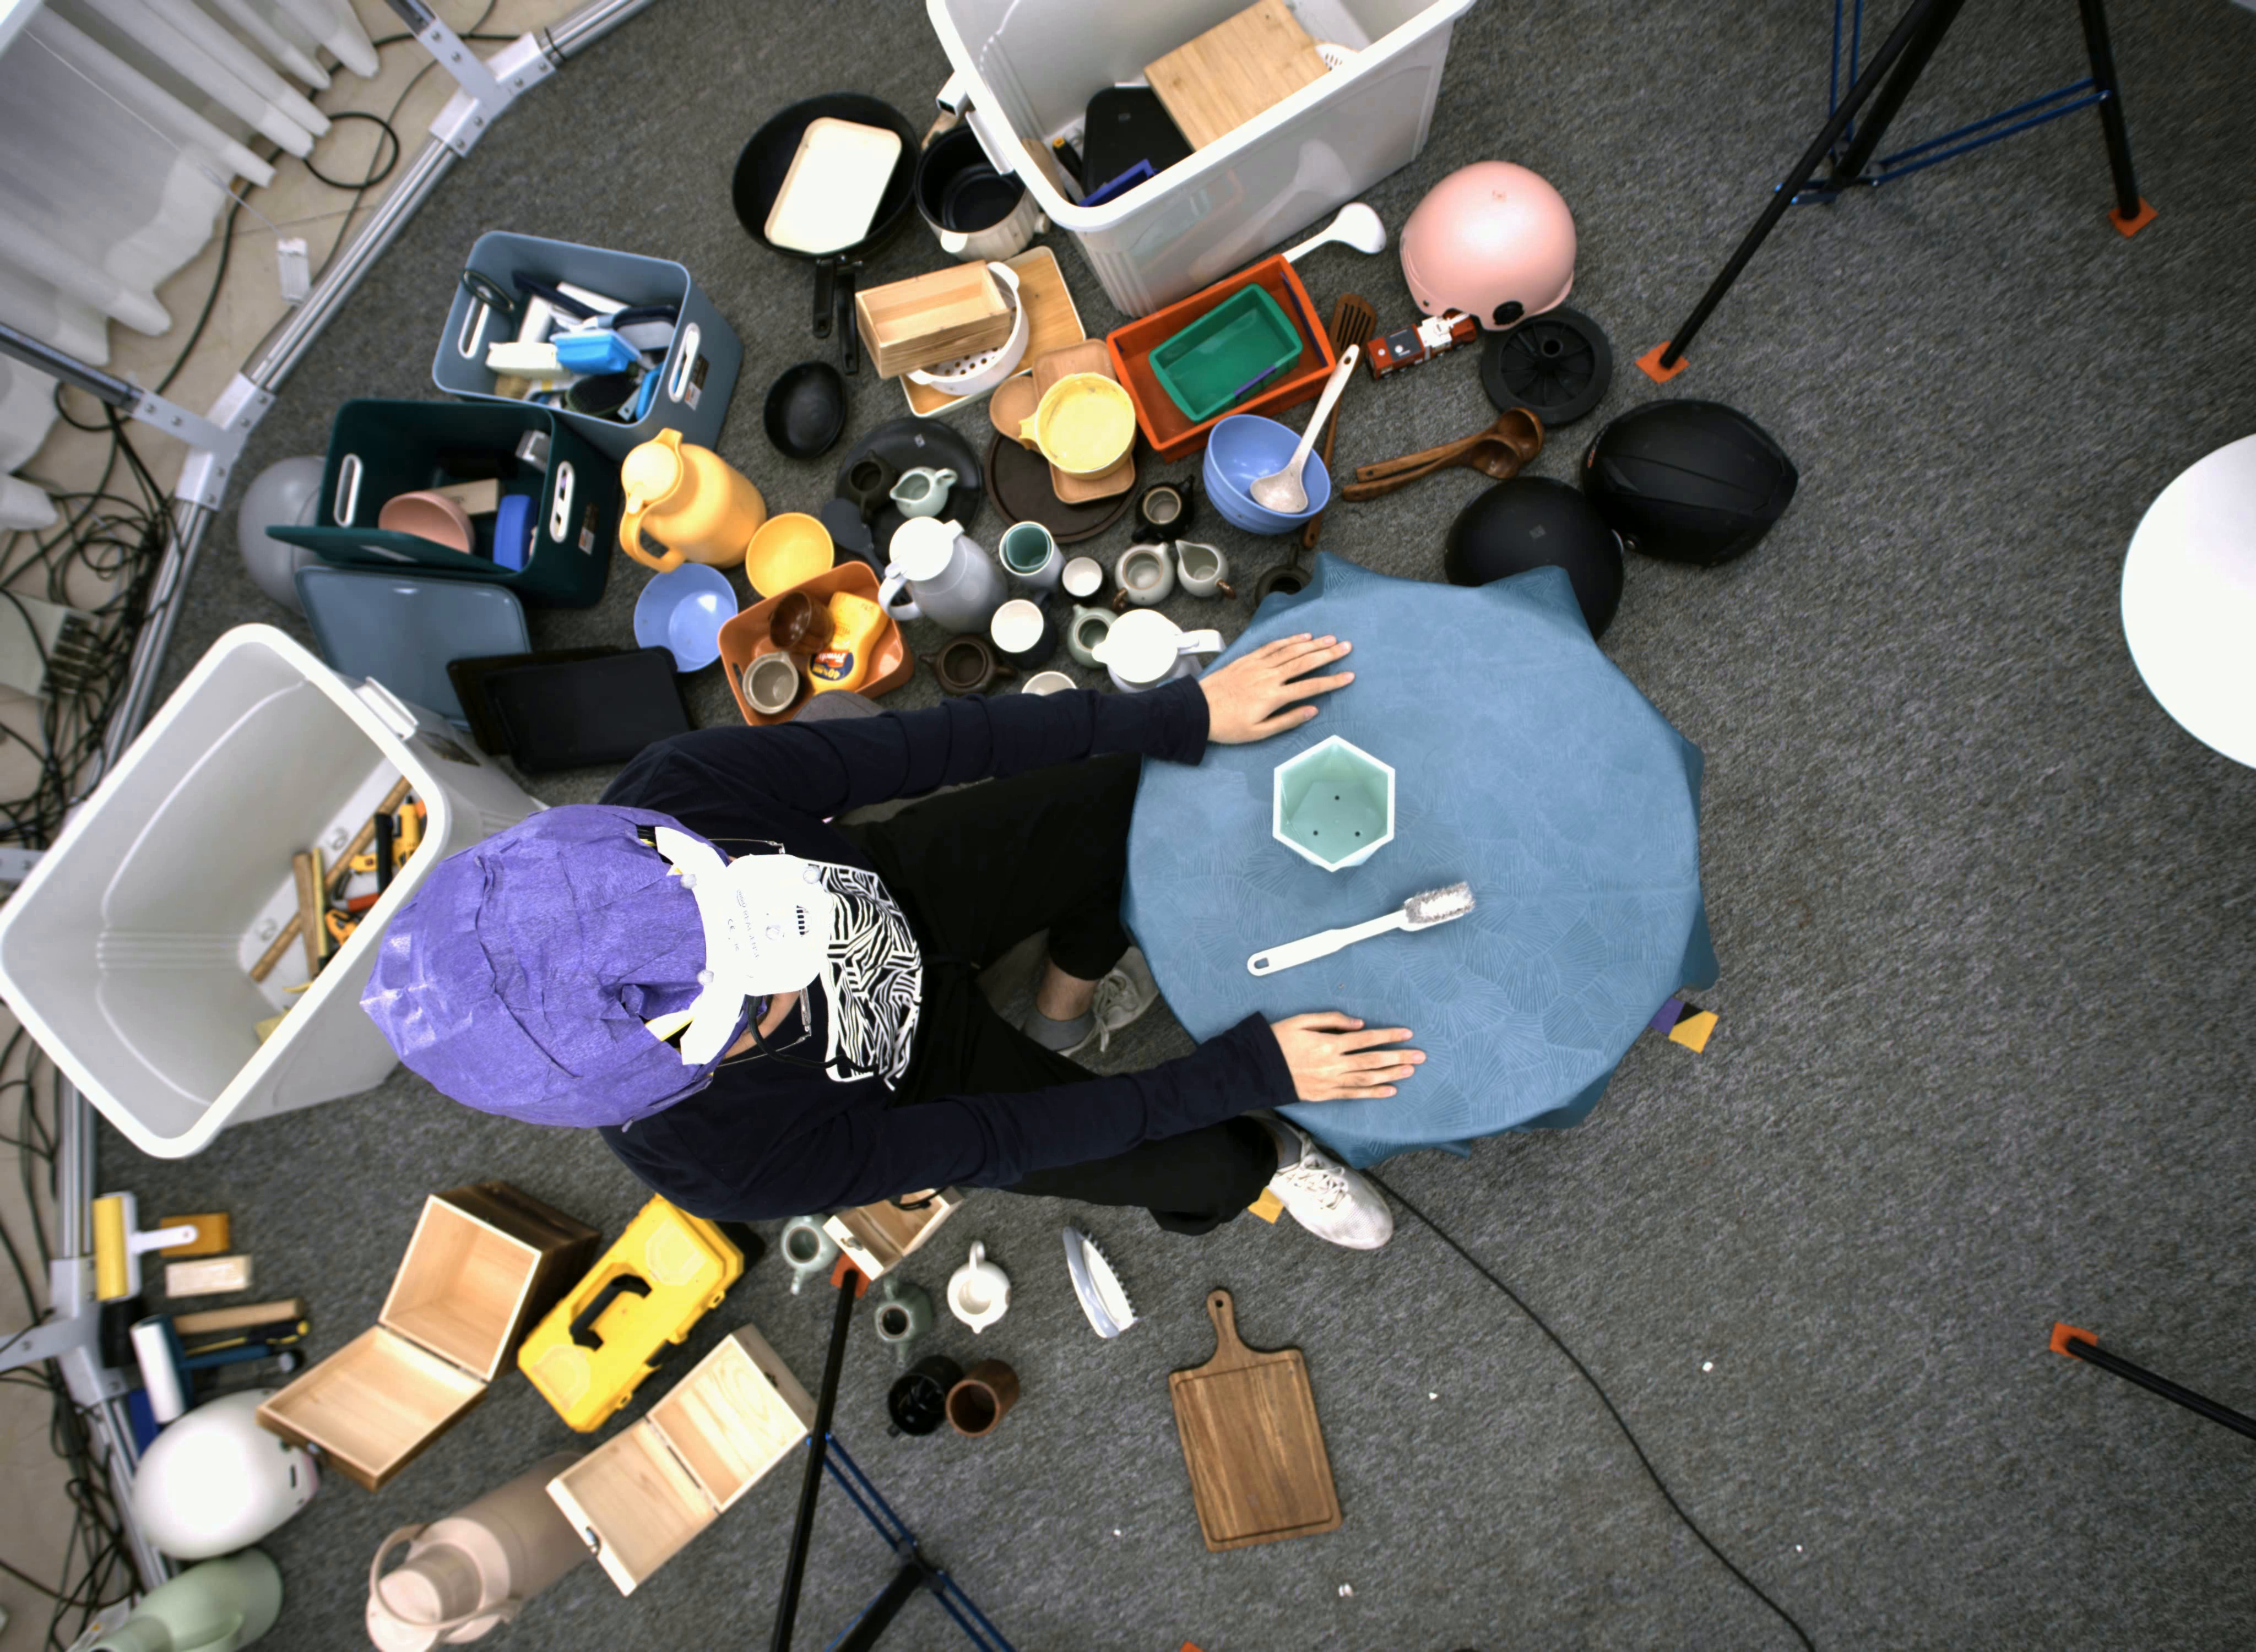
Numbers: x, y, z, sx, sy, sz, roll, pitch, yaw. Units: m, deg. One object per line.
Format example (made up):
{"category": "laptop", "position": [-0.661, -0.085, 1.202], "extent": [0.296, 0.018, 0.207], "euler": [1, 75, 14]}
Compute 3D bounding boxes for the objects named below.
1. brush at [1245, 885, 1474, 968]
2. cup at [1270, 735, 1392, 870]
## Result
{"category": "brush", "position": [0.238, 0.106, 1.439], "extent": [0.245, 0.050, 0.034], "euler": [-16, 83, 9]}
{"category": "cup", "position": [0.208, -0.016, 1.392], "extent": [0.131, 0.163, 0.115], "euler": [30, 92, 12]}
